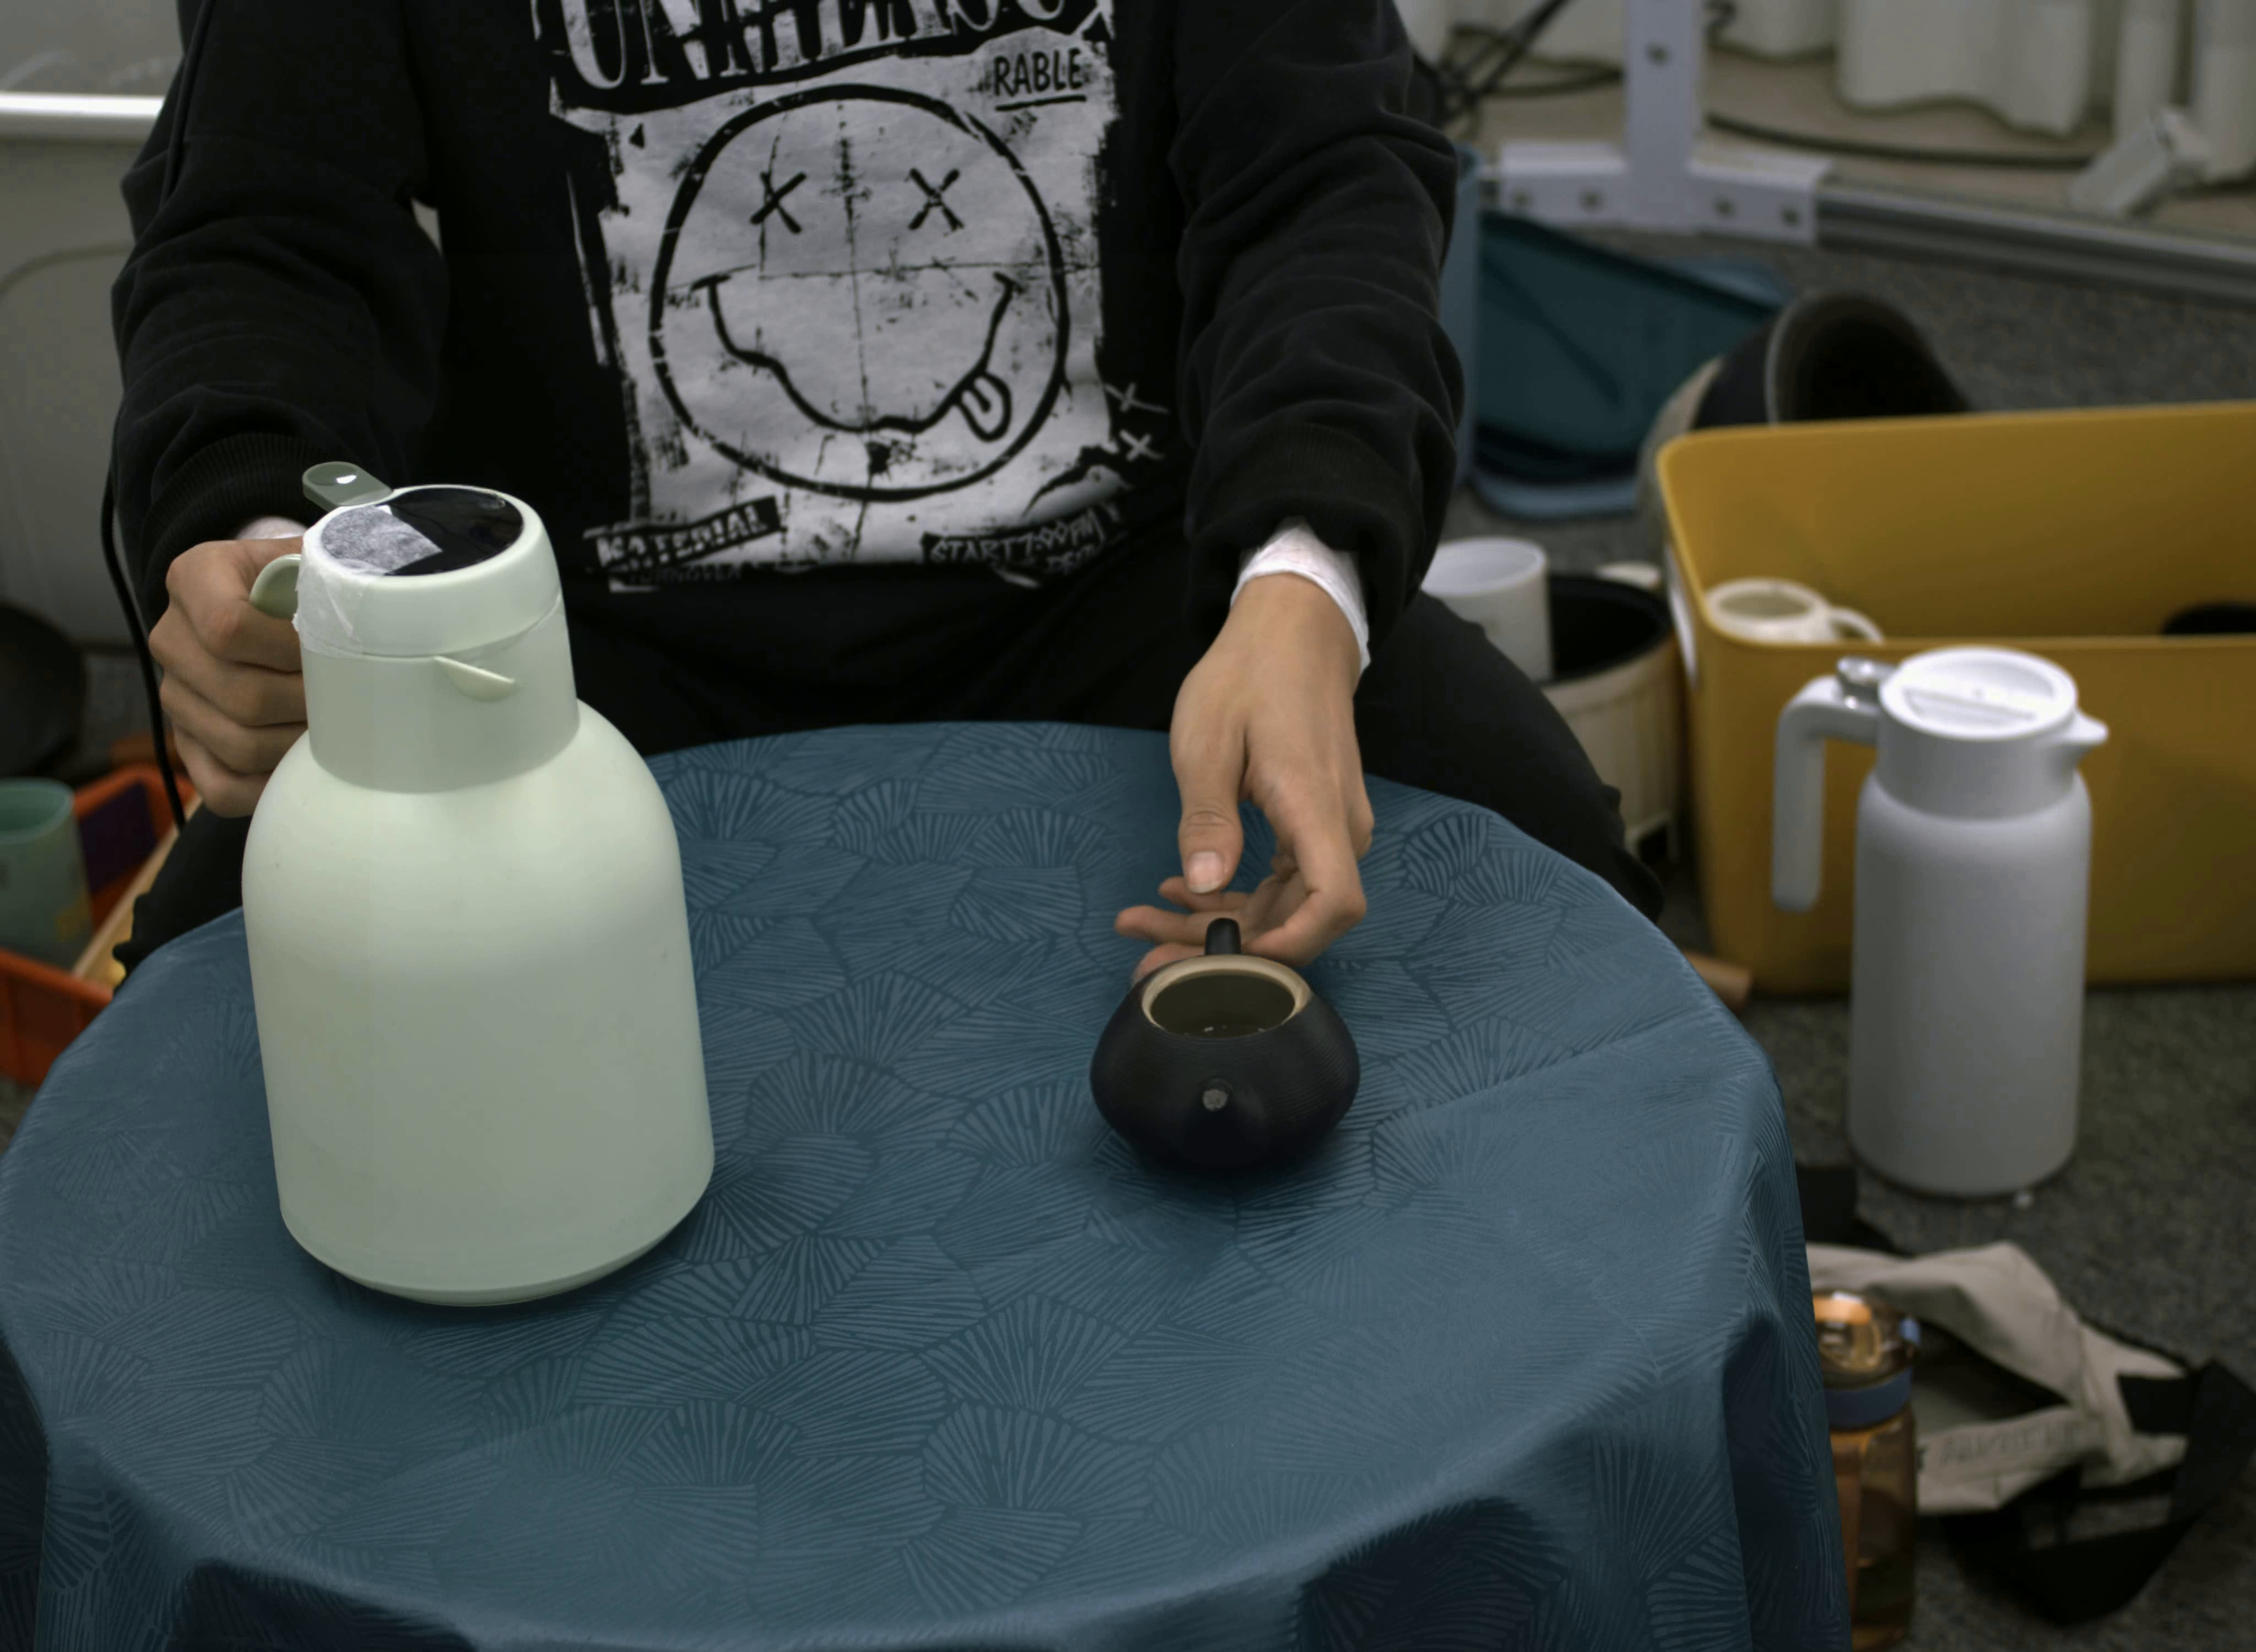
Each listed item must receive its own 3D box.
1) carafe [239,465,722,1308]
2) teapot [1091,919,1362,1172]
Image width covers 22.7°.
[{"bbox_3d":[-0.223,0.013,1.822,0.145,0.254,0.186,-23,29,-32],"label":"carafe"},{"bbox_3d":[0.033,0.079,1.880,0.090,0.052,0.135,0,27,2],"label":"teapot"}]
